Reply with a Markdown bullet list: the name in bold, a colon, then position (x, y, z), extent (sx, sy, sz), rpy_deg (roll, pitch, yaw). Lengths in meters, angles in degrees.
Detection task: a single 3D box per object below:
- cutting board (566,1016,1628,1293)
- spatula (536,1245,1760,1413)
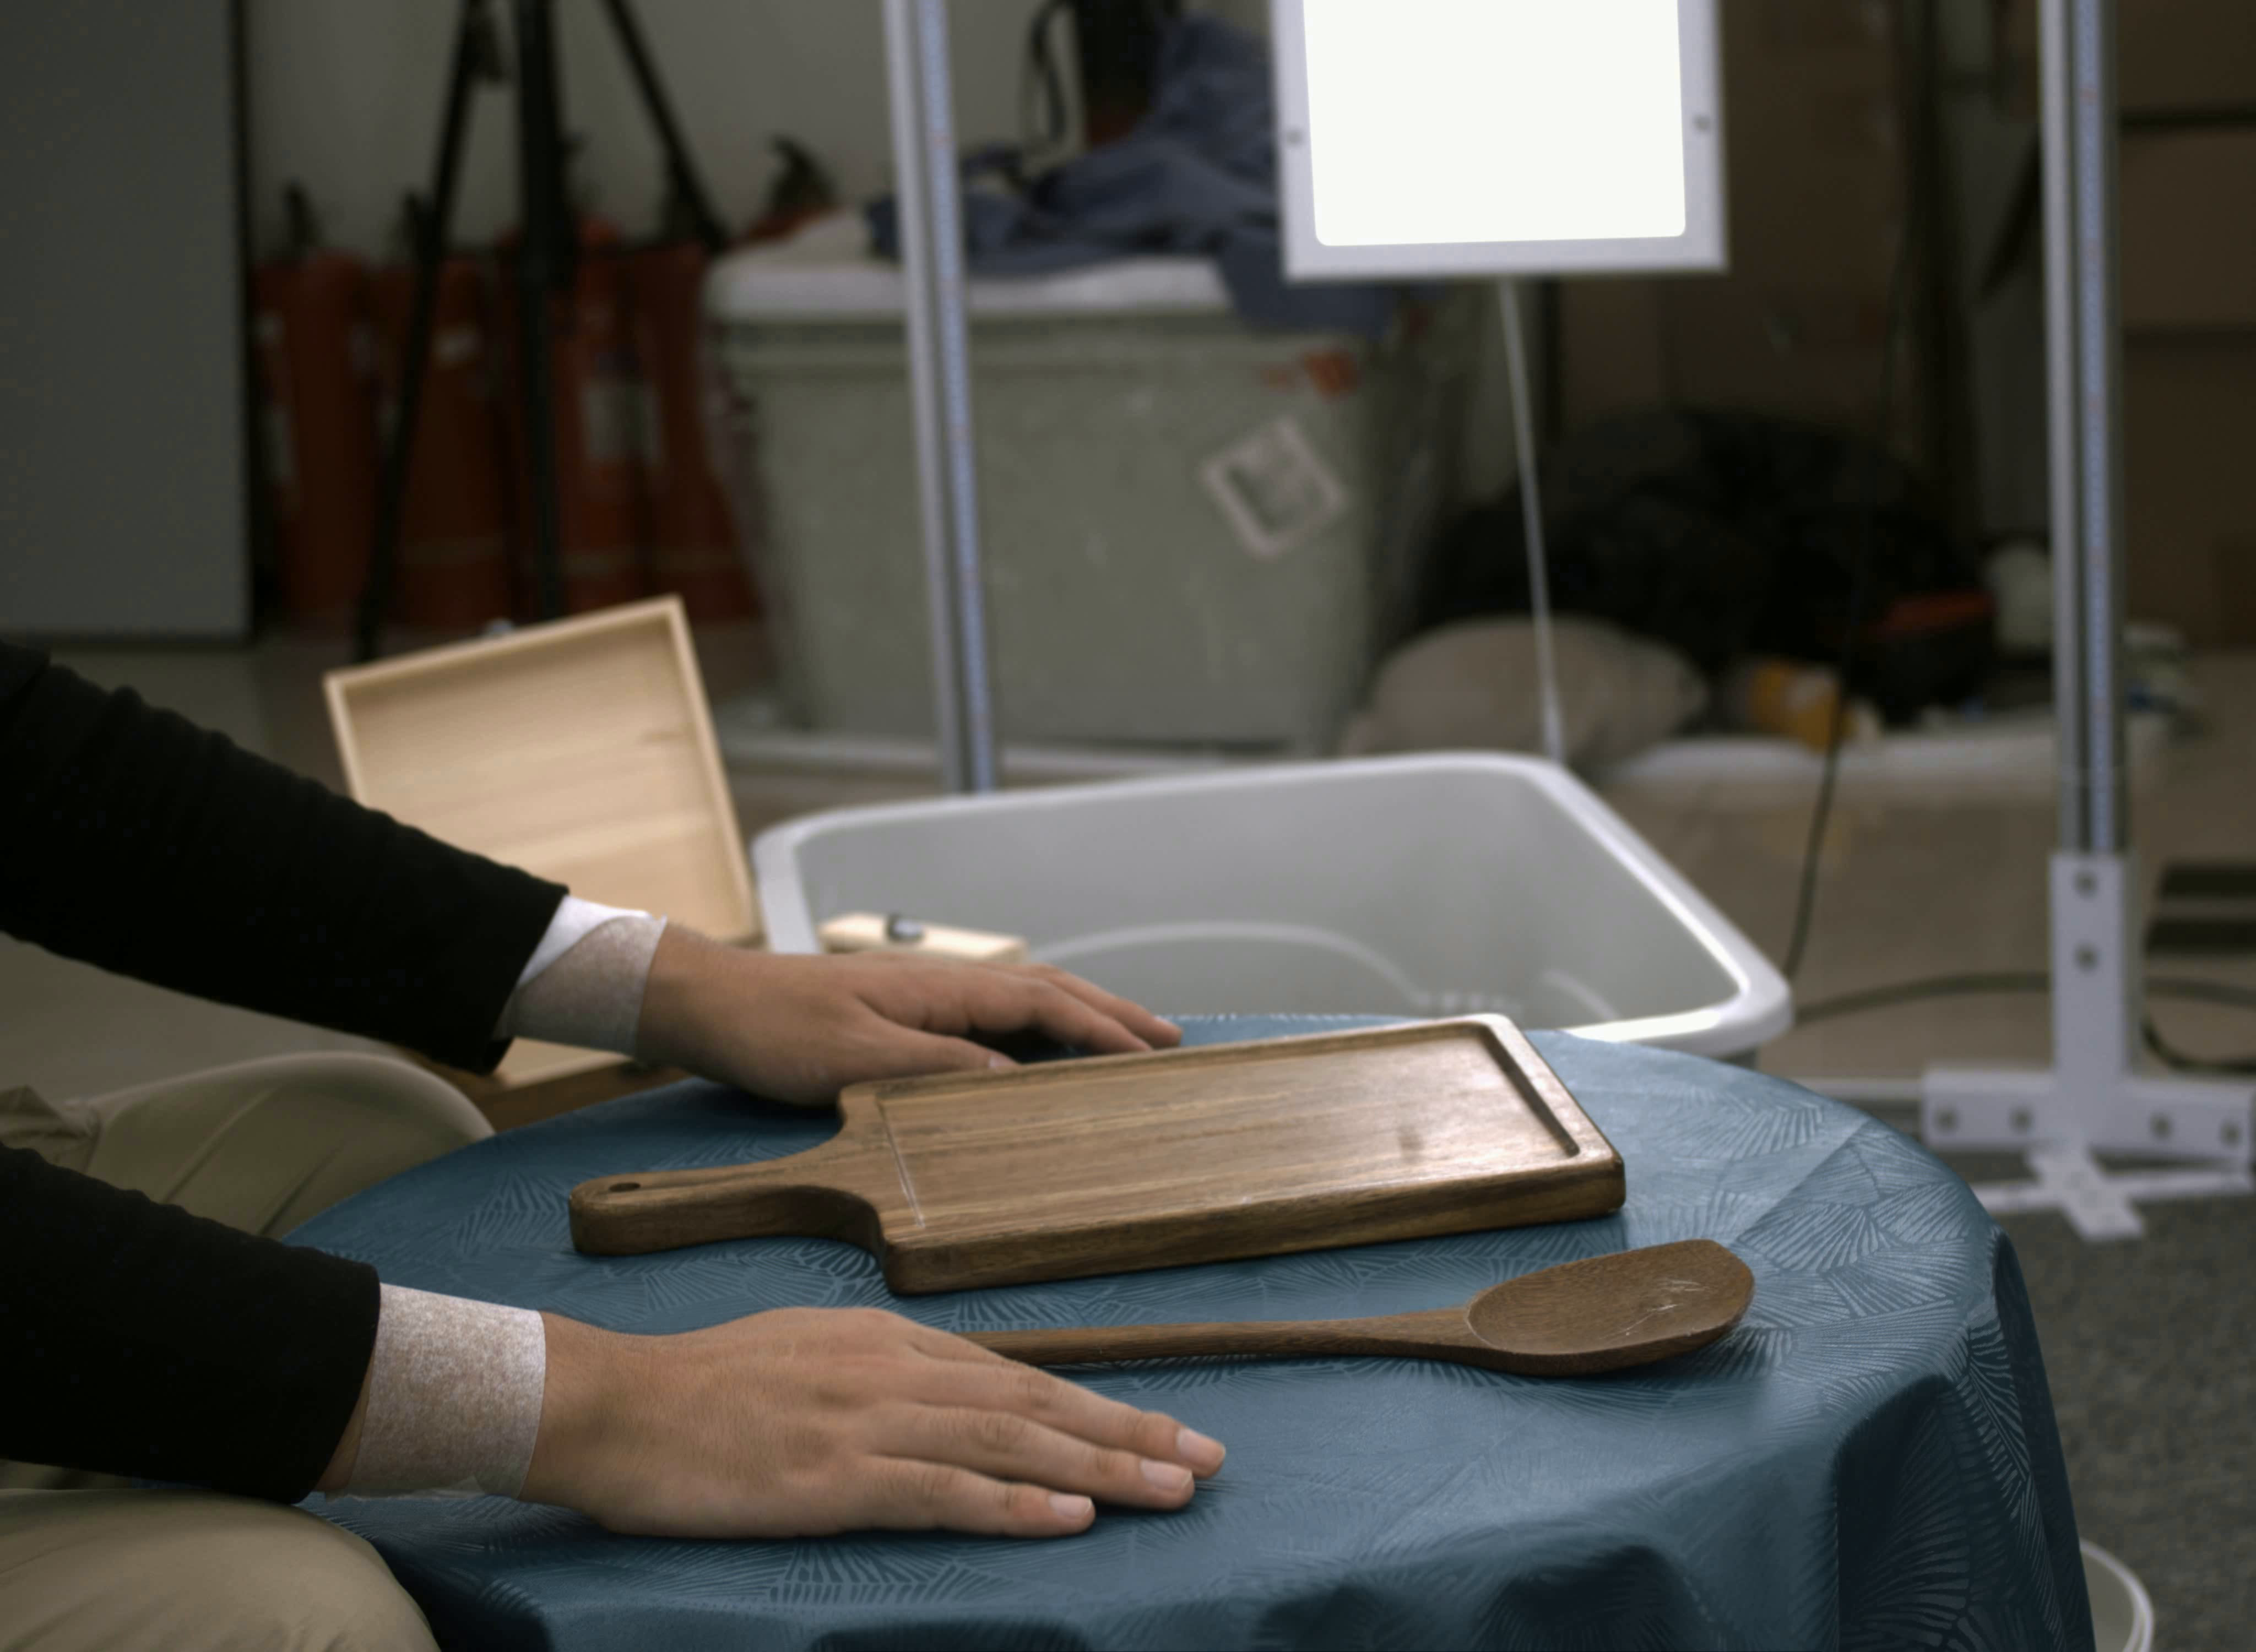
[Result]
- **cutting board**: position (-0.019, 0.116, 1.903), extent (0.349, 0.023, 0.202), rpy_deg (-6, 13, -5)
- **spatula**: position (0.005, 0.161, 1.722), extent (0.386, 0.016, 0.095), rpy_deg (-4, 13, 5)
